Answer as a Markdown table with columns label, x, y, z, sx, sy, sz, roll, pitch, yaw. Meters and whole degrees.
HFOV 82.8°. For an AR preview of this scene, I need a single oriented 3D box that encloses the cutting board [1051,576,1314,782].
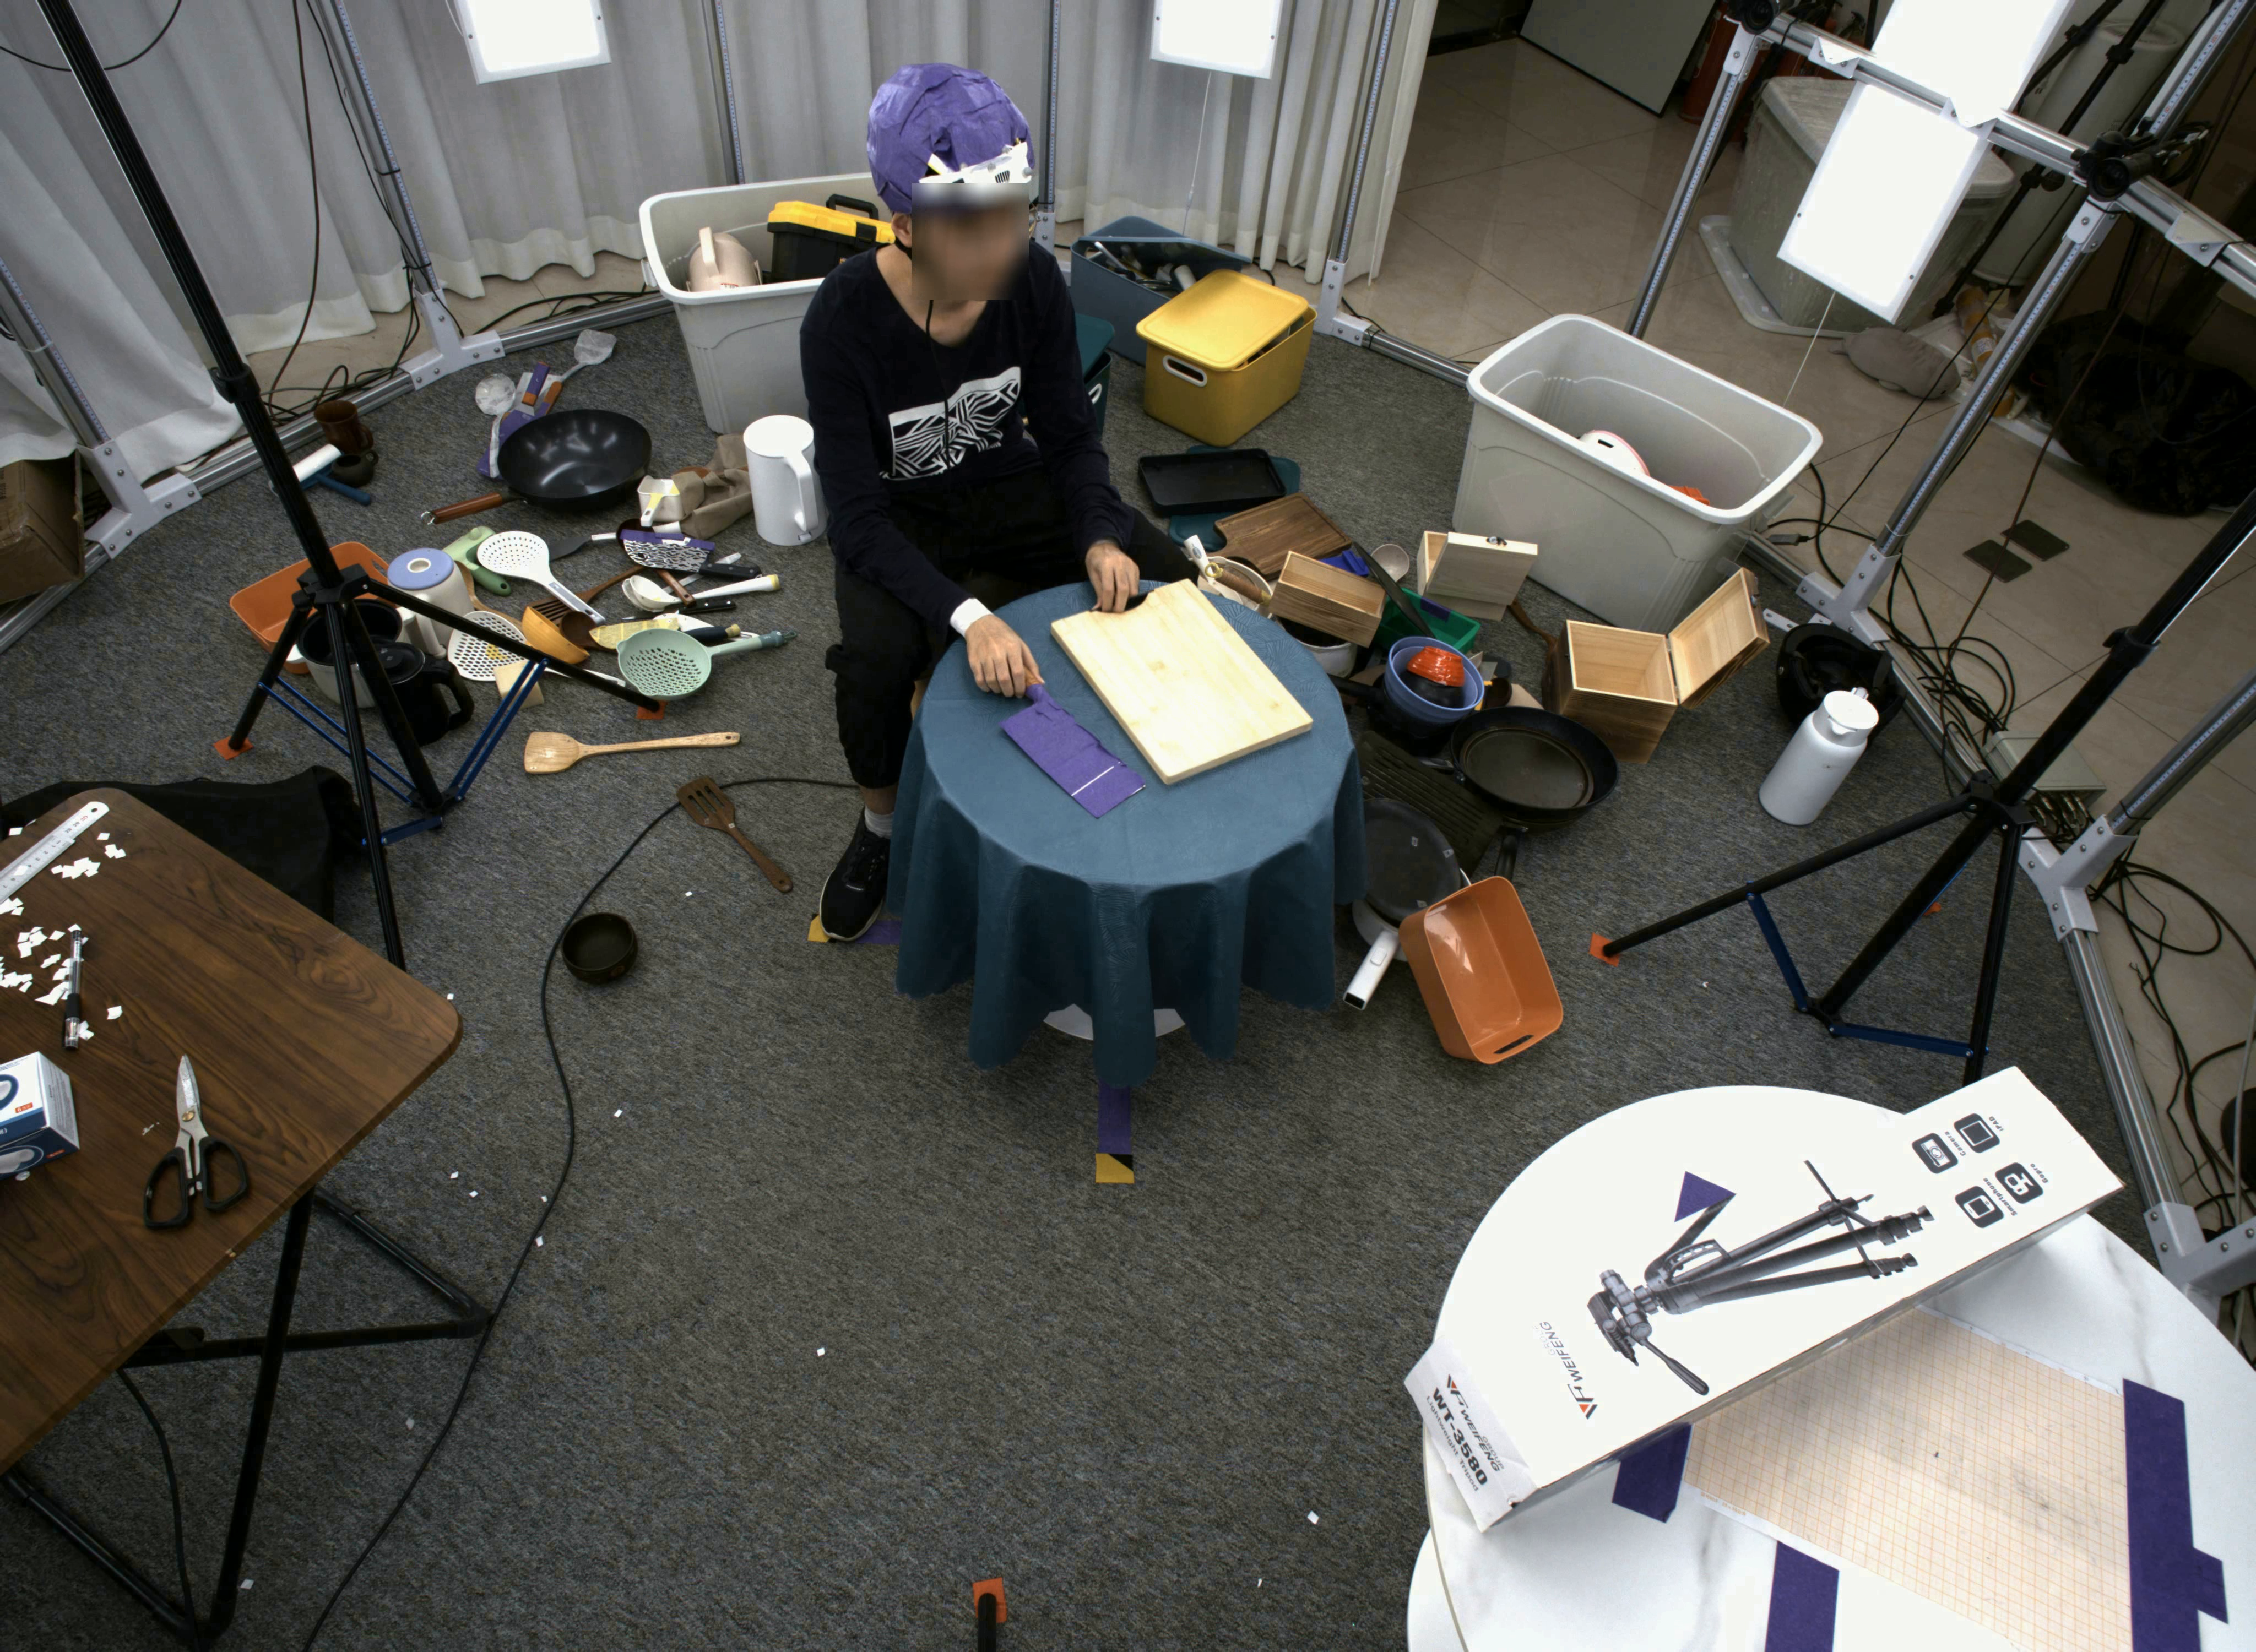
| label | x | y | z | sx | sy | sz | roll | pitch | yaw |
| --- | --- | --- | --- | --- | --- | --- | --- | --- | --- |
| cutting board | 0.073 | -0.220 | 1.852 | 0.251 | 0.023 | 0.356 | -22 | 54 | -21 |

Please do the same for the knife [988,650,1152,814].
| label | x | y | z | sx | sy | sz | roll | pitch | yaw |
| --- | --- | --- | --- | --- | --- | --- | --- | --- | --- |
| knife | -0.108 | -0.133 | 1.758 | 0.104 | 0.031 | 0.320 | -33 | 59 | -27 |
